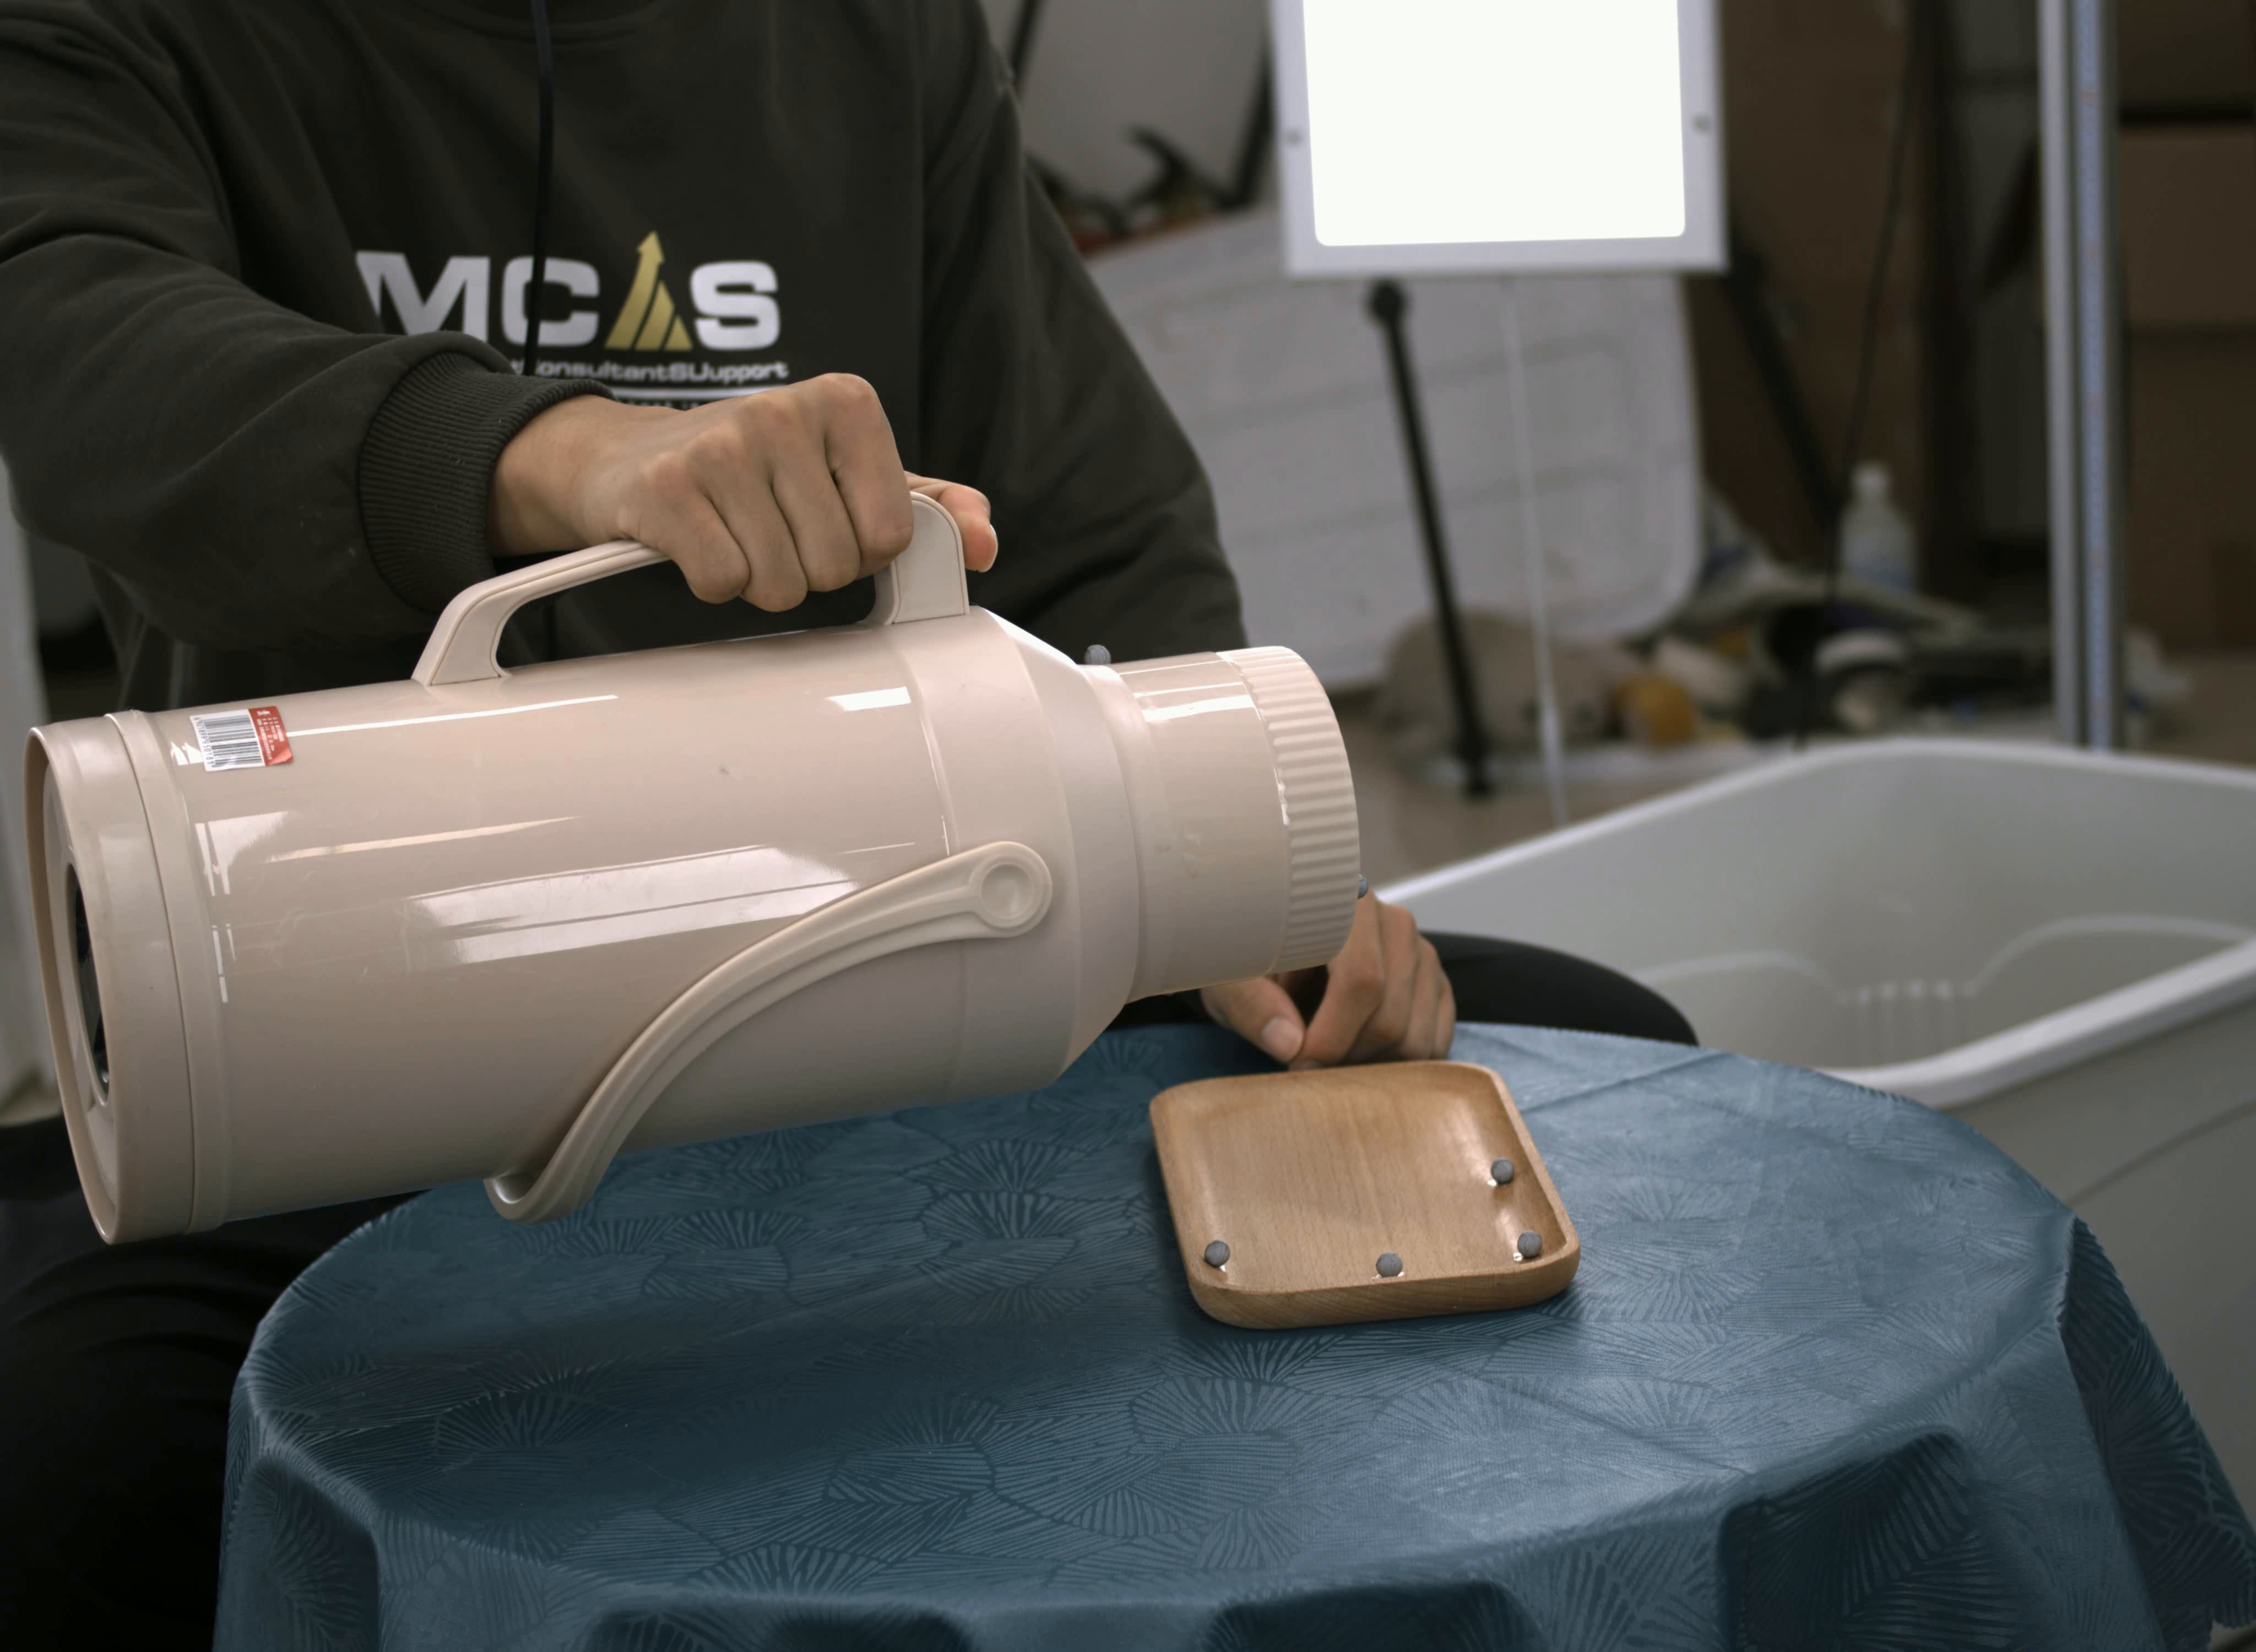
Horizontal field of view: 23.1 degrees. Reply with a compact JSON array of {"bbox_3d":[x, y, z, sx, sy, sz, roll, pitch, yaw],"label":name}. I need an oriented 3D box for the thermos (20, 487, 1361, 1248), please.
[{"bbox_3d":[-0.135,0.007,1.723,0.401,0.208,0.177,-8,9,-13],"label":"thermos"}]

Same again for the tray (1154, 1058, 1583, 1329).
[{"bbox_3d":[0.078,0.122,1.858,0.130,0.023,0.250,-3,13,-1],"label":"tray"}]
